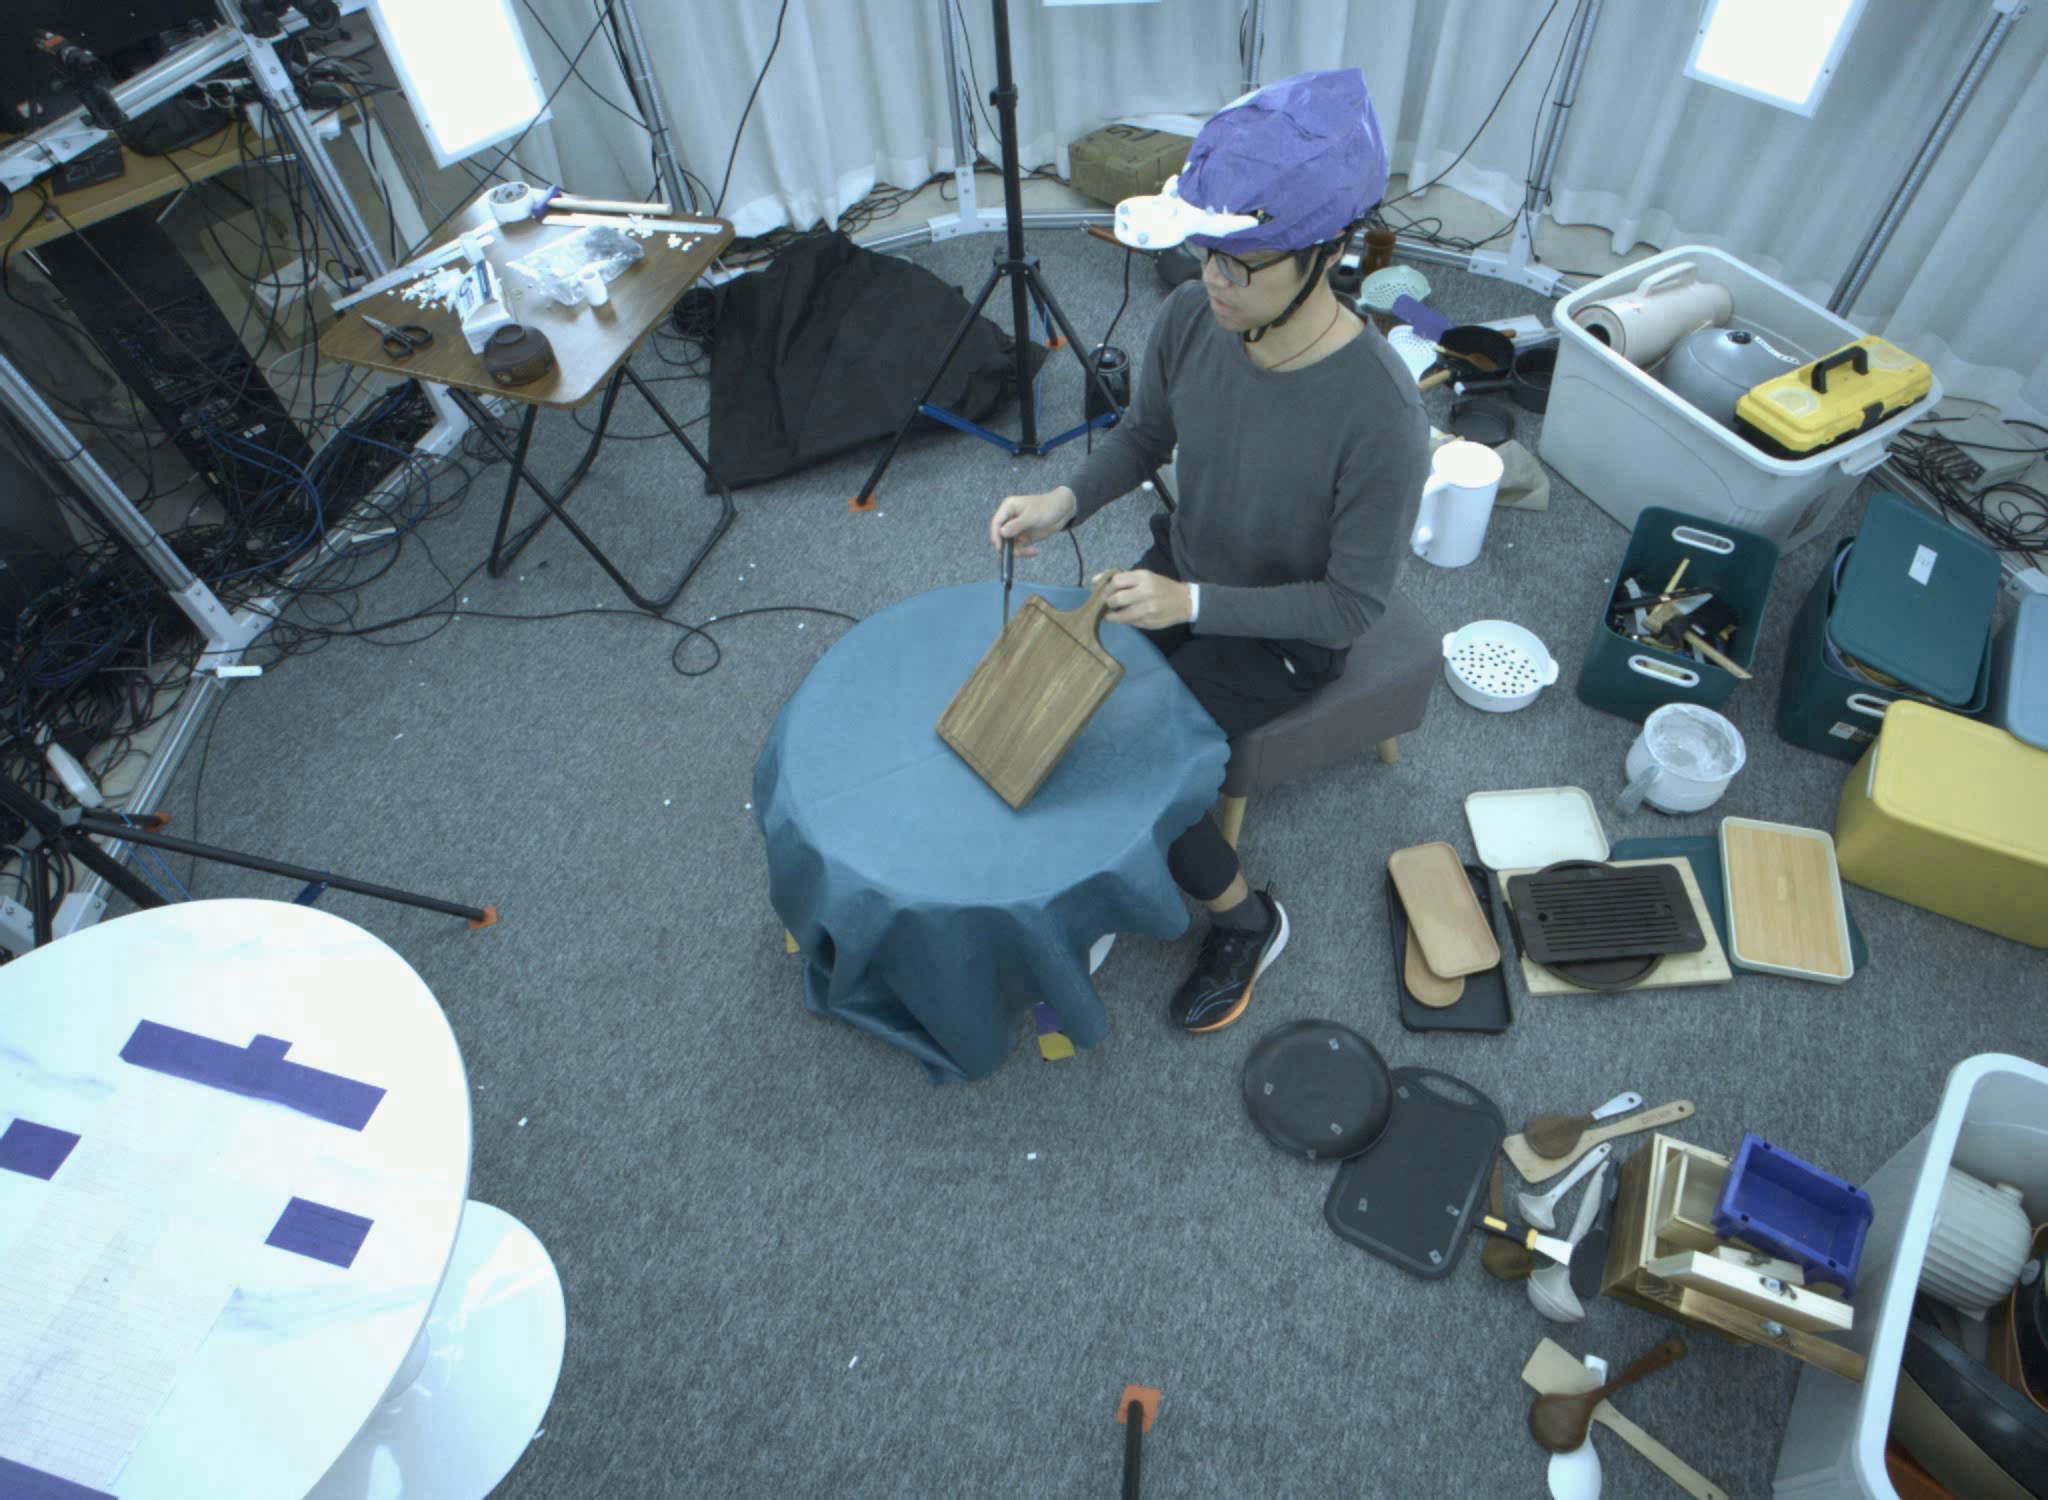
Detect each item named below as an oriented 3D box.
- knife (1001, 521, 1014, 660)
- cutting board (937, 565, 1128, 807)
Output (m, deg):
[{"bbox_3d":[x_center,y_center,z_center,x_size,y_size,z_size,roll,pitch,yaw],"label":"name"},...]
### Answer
[{"bbox_3d":[-0.025,-0.225,1.731,0.016,0.025,0.236,-8,61,15],"label":"knife"},{"bbox_3d":[0.034,-0.111,1.733,0.197,0.024,0.351,43,104,28],"label":"cutting board"}]
